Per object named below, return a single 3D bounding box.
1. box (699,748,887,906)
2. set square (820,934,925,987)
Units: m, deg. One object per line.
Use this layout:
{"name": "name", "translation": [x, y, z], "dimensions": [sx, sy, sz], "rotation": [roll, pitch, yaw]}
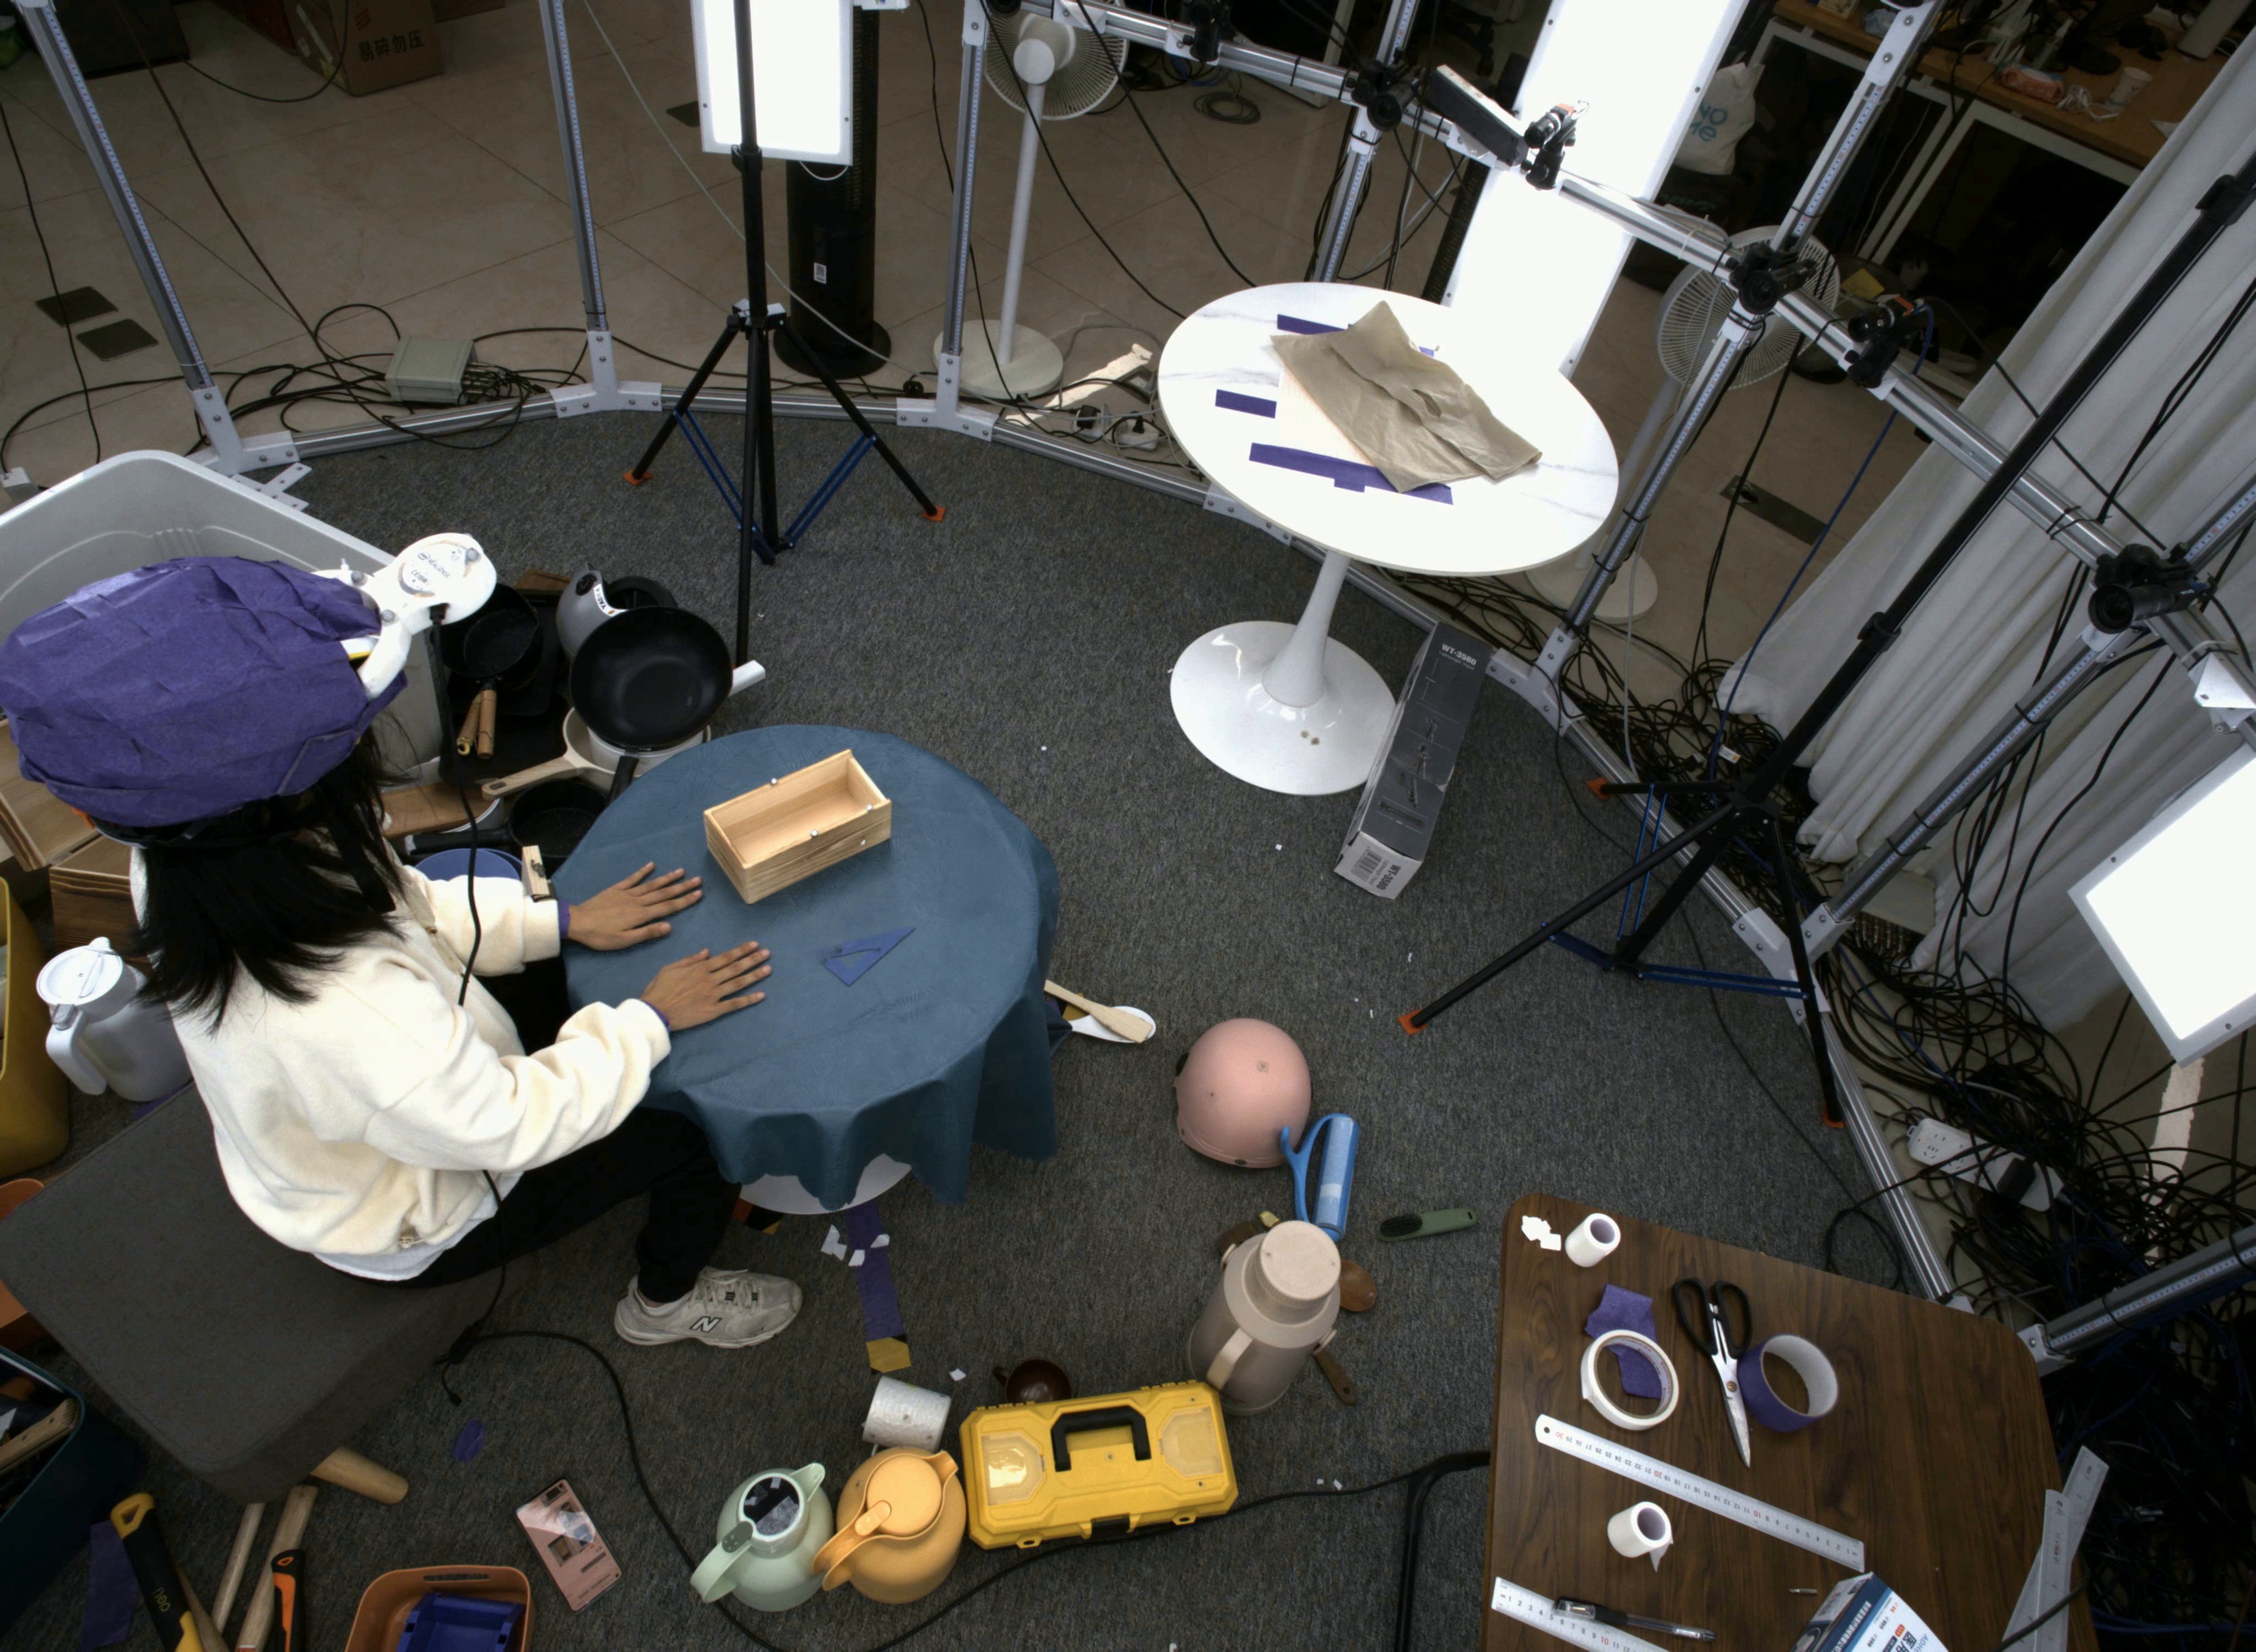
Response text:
{"name": "box", "translation": [-0.428, -0.002, 1.668], "dimensions": [0.212, 0.082, 0.105], "rotation": [-29, 63, -31]}
{"name": "set square", "translation": [-0.314, 0.165, 1.622], "dimensions": [0.132, 0.007, 0.059], "rotation": [-9, 56, -21]}
